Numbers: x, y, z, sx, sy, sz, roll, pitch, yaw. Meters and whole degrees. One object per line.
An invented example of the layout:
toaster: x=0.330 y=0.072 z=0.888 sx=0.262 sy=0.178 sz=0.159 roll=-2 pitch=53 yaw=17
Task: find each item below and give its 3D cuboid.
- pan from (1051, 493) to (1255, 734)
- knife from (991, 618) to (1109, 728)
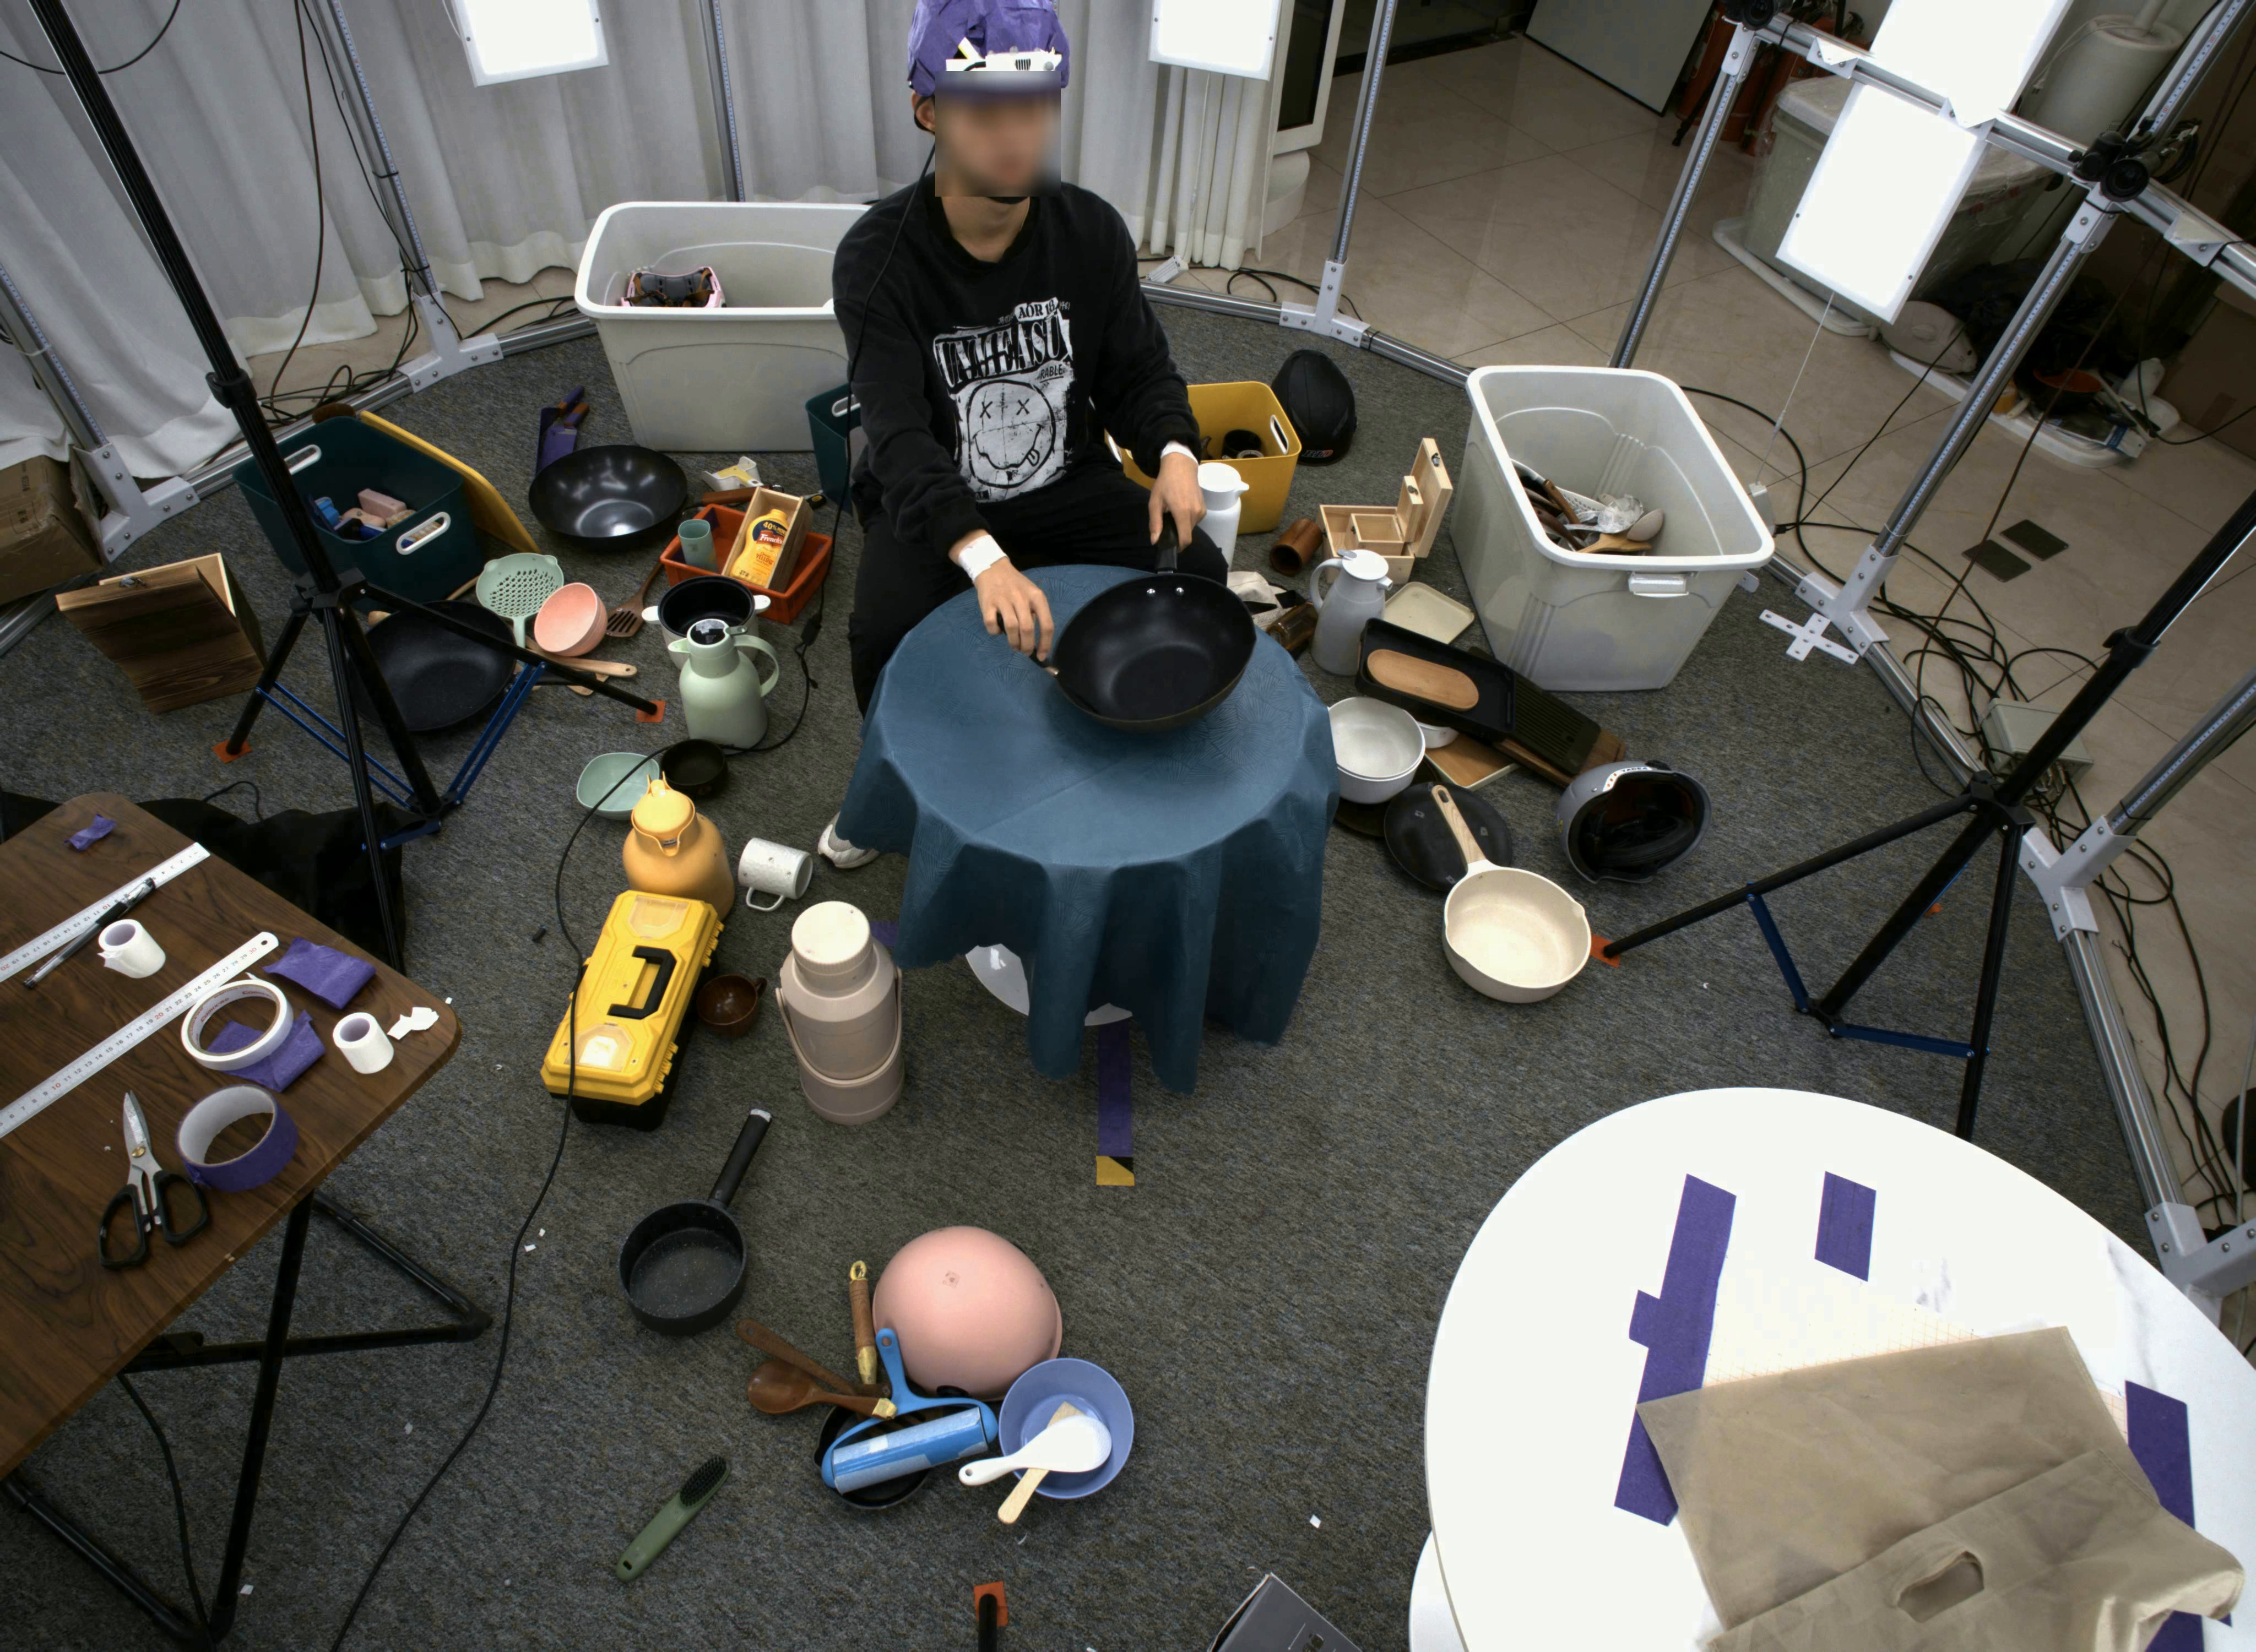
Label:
pan: x=0.052 y=-0.298 z=1.846 sx=0.288 sy=0.085 sz=0.474 roll=-2 pitch=52 yaw=15
knife: x=-0.099 y=-0.200 z=1.704 sx=0.026 sy=0.222 sz=0.017 roll=-4 pitch=51 yaw=55
